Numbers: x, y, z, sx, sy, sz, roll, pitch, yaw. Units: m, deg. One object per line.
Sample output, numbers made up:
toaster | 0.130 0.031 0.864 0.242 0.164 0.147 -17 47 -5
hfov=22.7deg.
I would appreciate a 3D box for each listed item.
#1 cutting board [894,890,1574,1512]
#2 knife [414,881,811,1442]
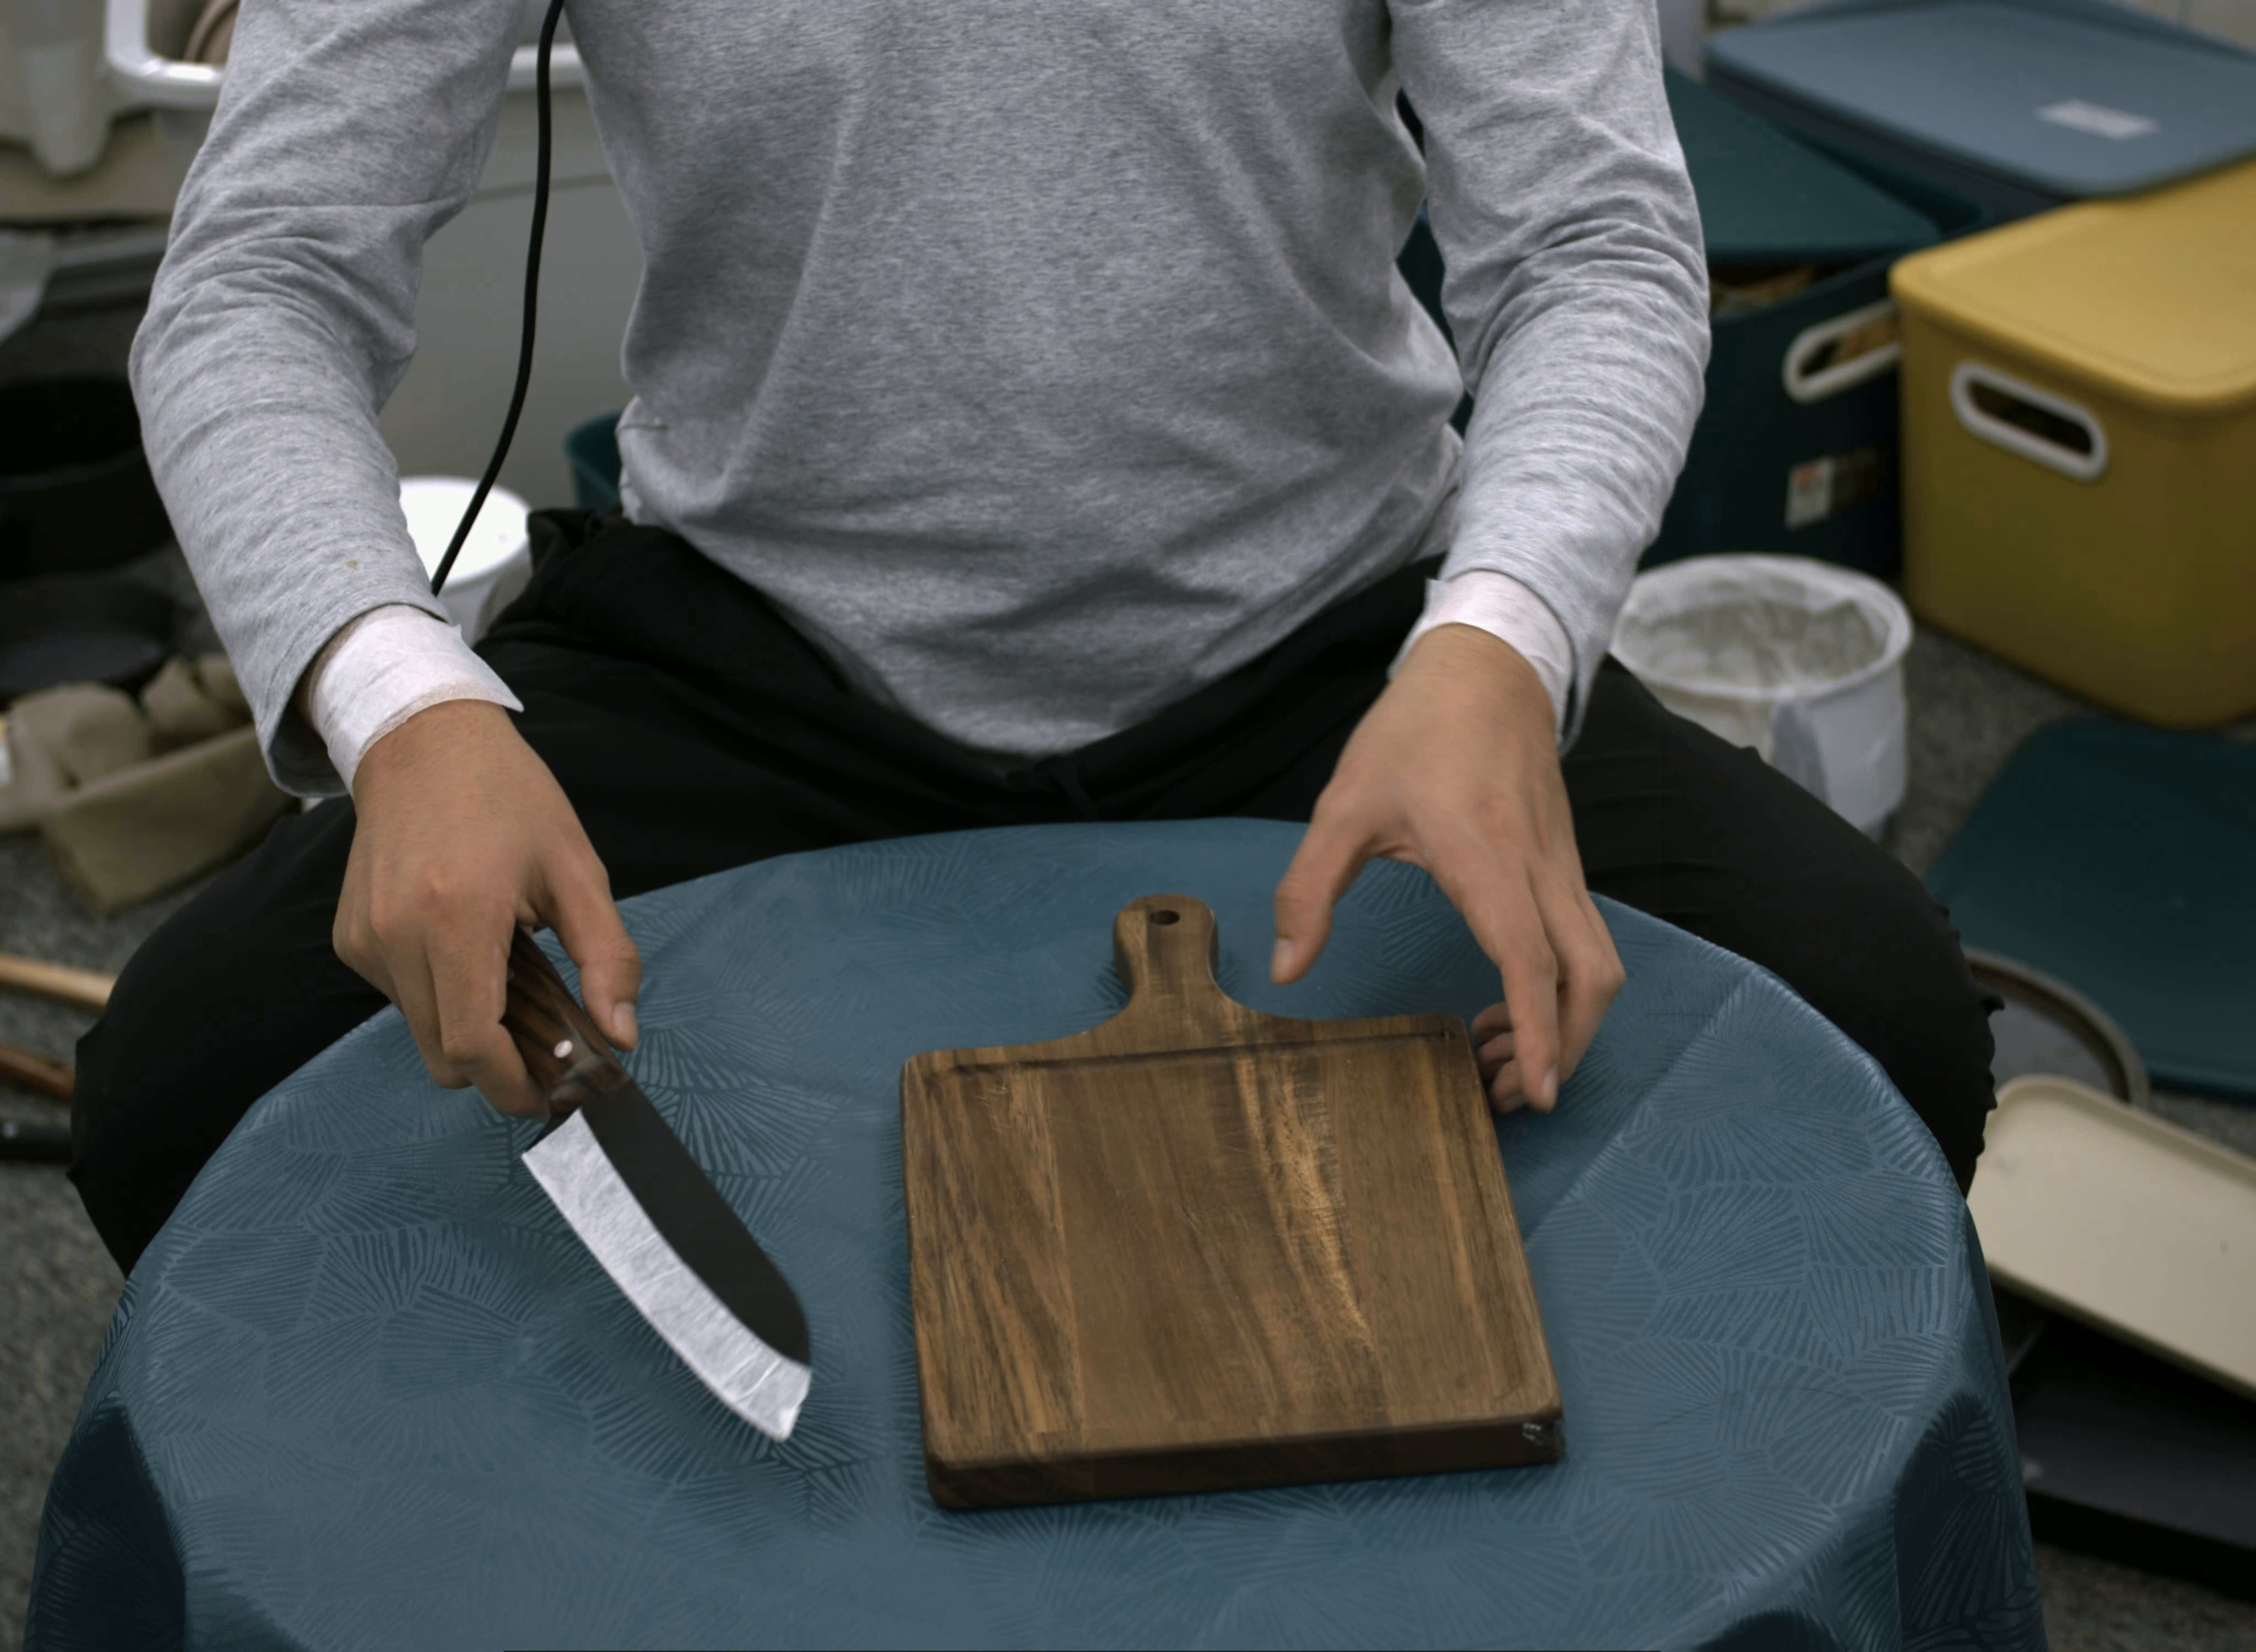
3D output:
cutting board | 0.025 0.113 1.855 0.200 0.023 0.357 -4 27 -3
knife | -0.166 0.105 1.794 0.050 0.020 0.292 -37 45 -2
